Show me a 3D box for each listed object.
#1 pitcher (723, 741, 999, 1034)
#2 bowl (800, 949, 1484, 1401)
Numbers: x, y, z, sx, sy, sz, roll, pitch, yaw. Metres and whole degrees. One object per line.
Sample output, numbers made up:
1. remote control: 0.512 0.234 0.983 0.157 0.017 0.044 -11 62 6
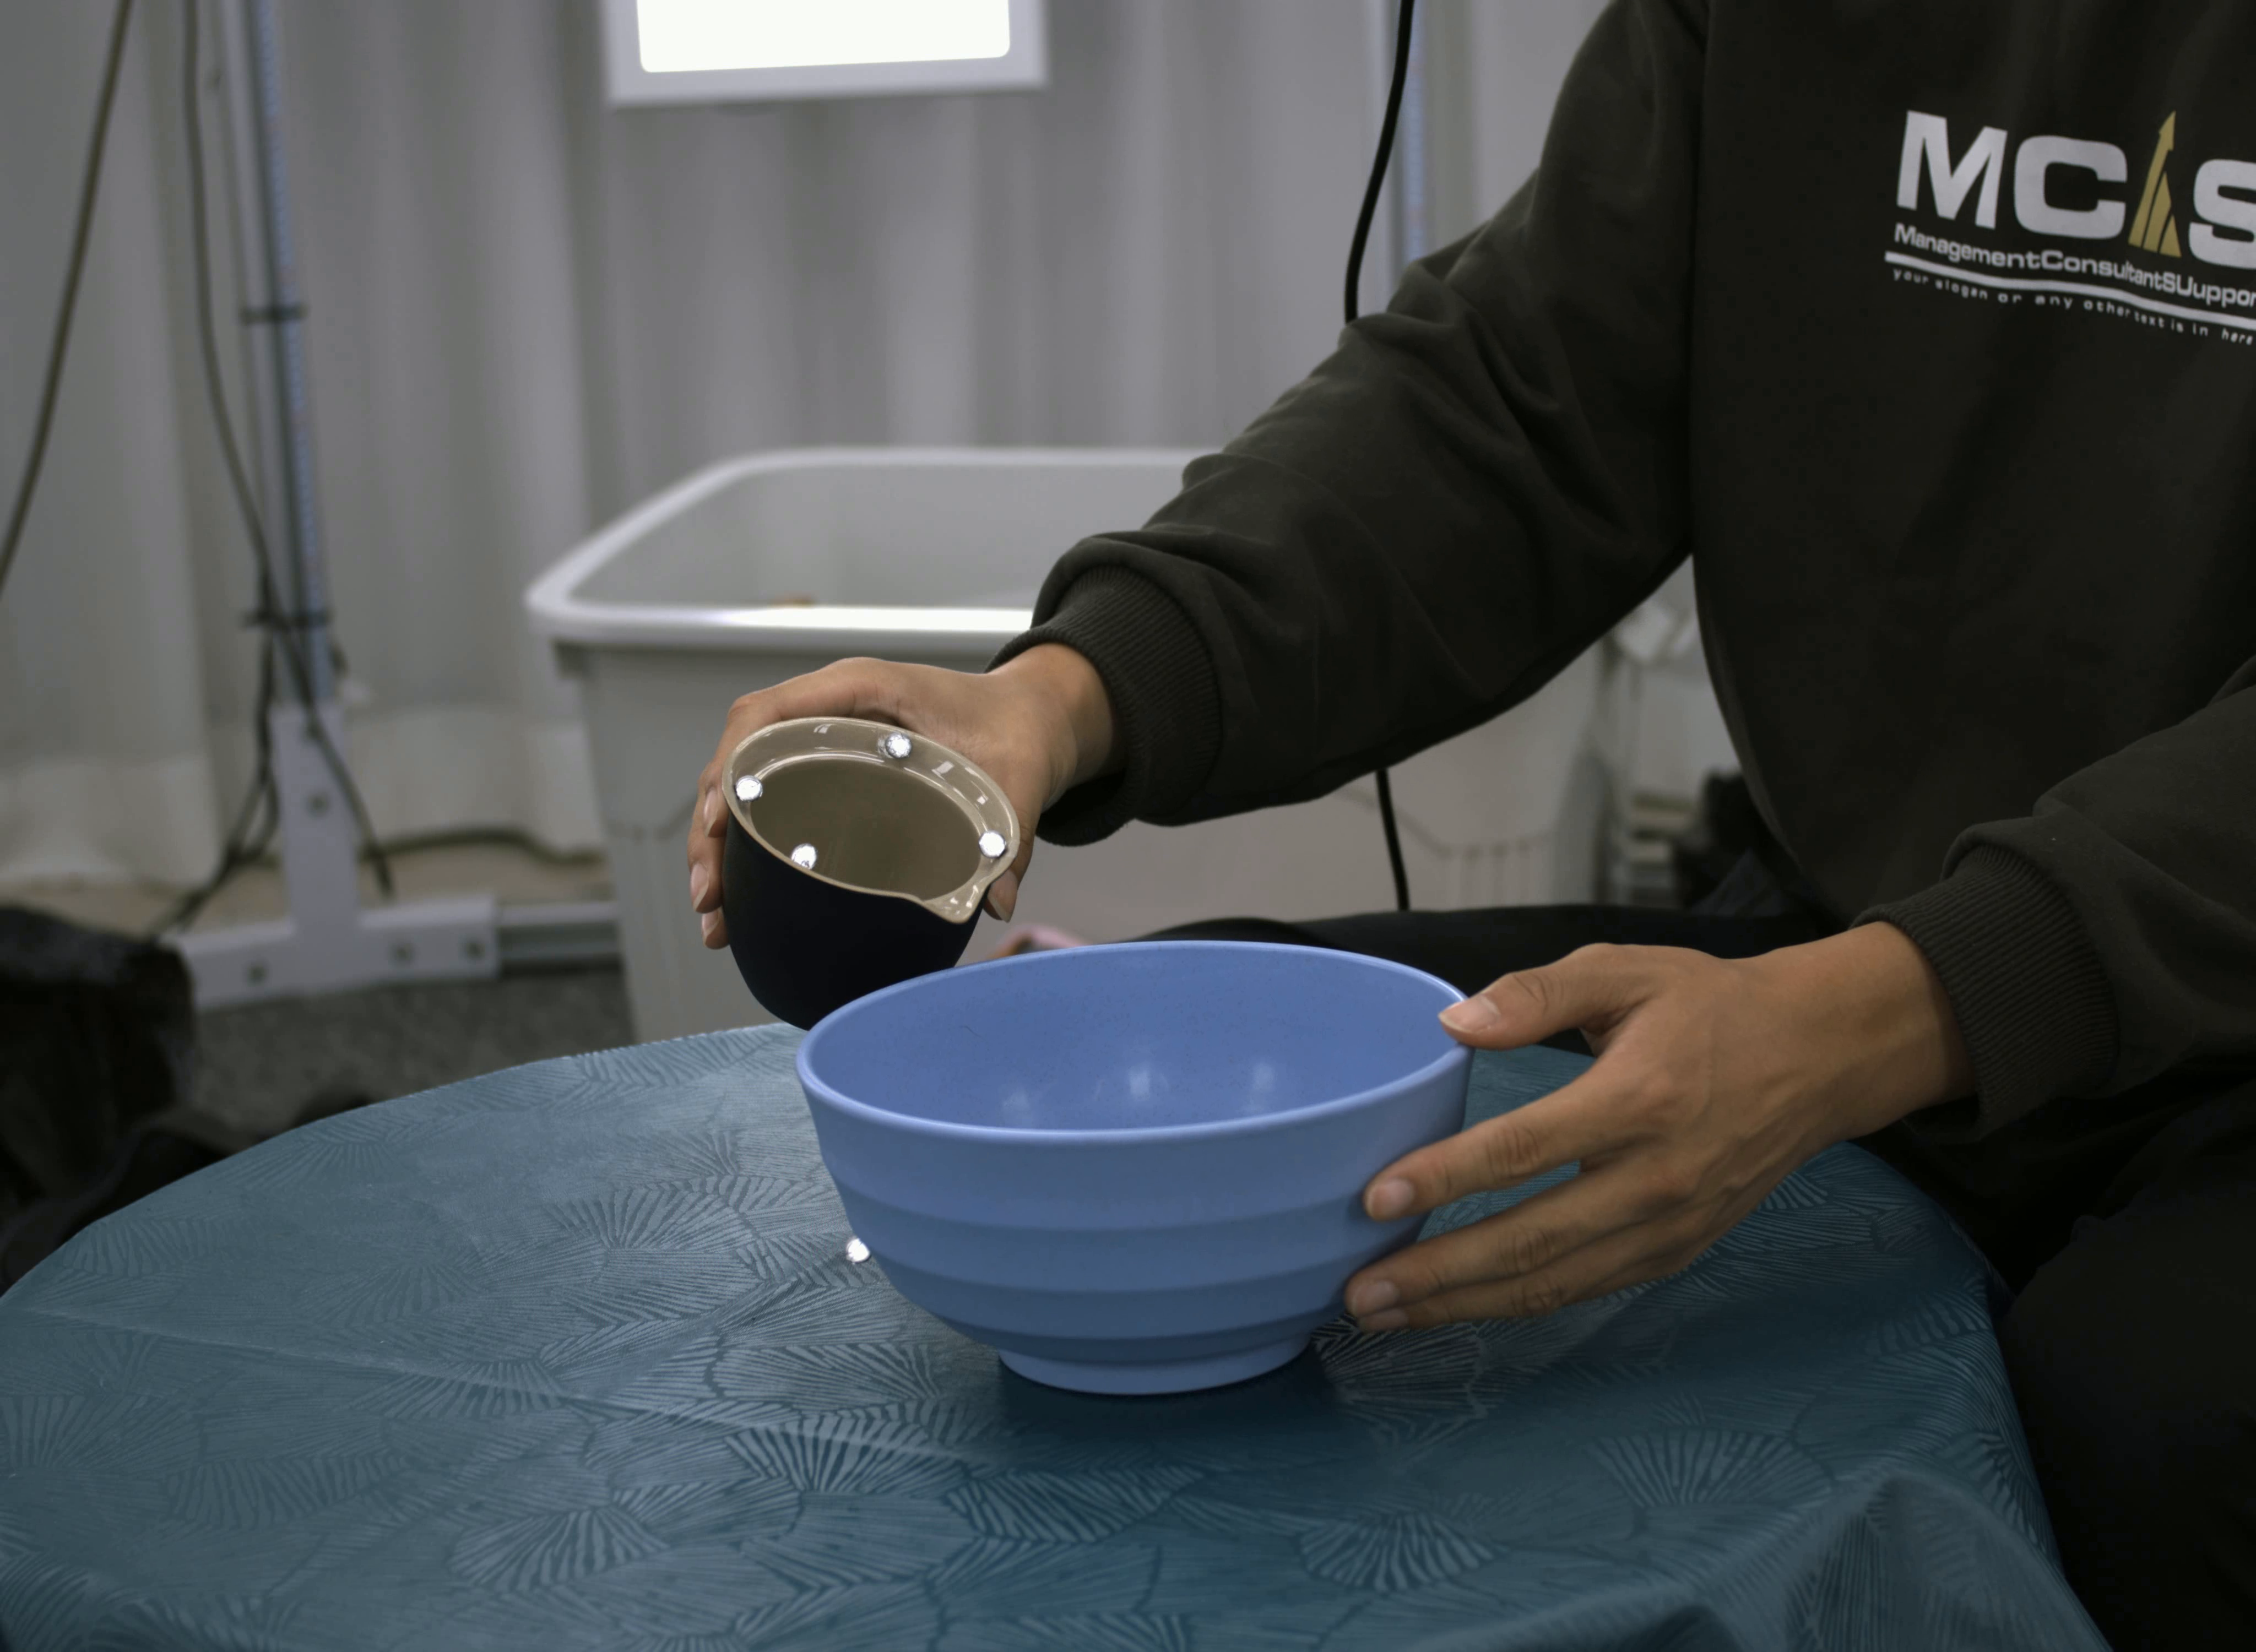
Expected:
1. pitcher: -0.083 0.024 1.683 0.083 0.071 0.097 -9 40 -35
2. bowl: 0.005 0.106 1.574 0.196 0.095 0.197 -1 13 0
